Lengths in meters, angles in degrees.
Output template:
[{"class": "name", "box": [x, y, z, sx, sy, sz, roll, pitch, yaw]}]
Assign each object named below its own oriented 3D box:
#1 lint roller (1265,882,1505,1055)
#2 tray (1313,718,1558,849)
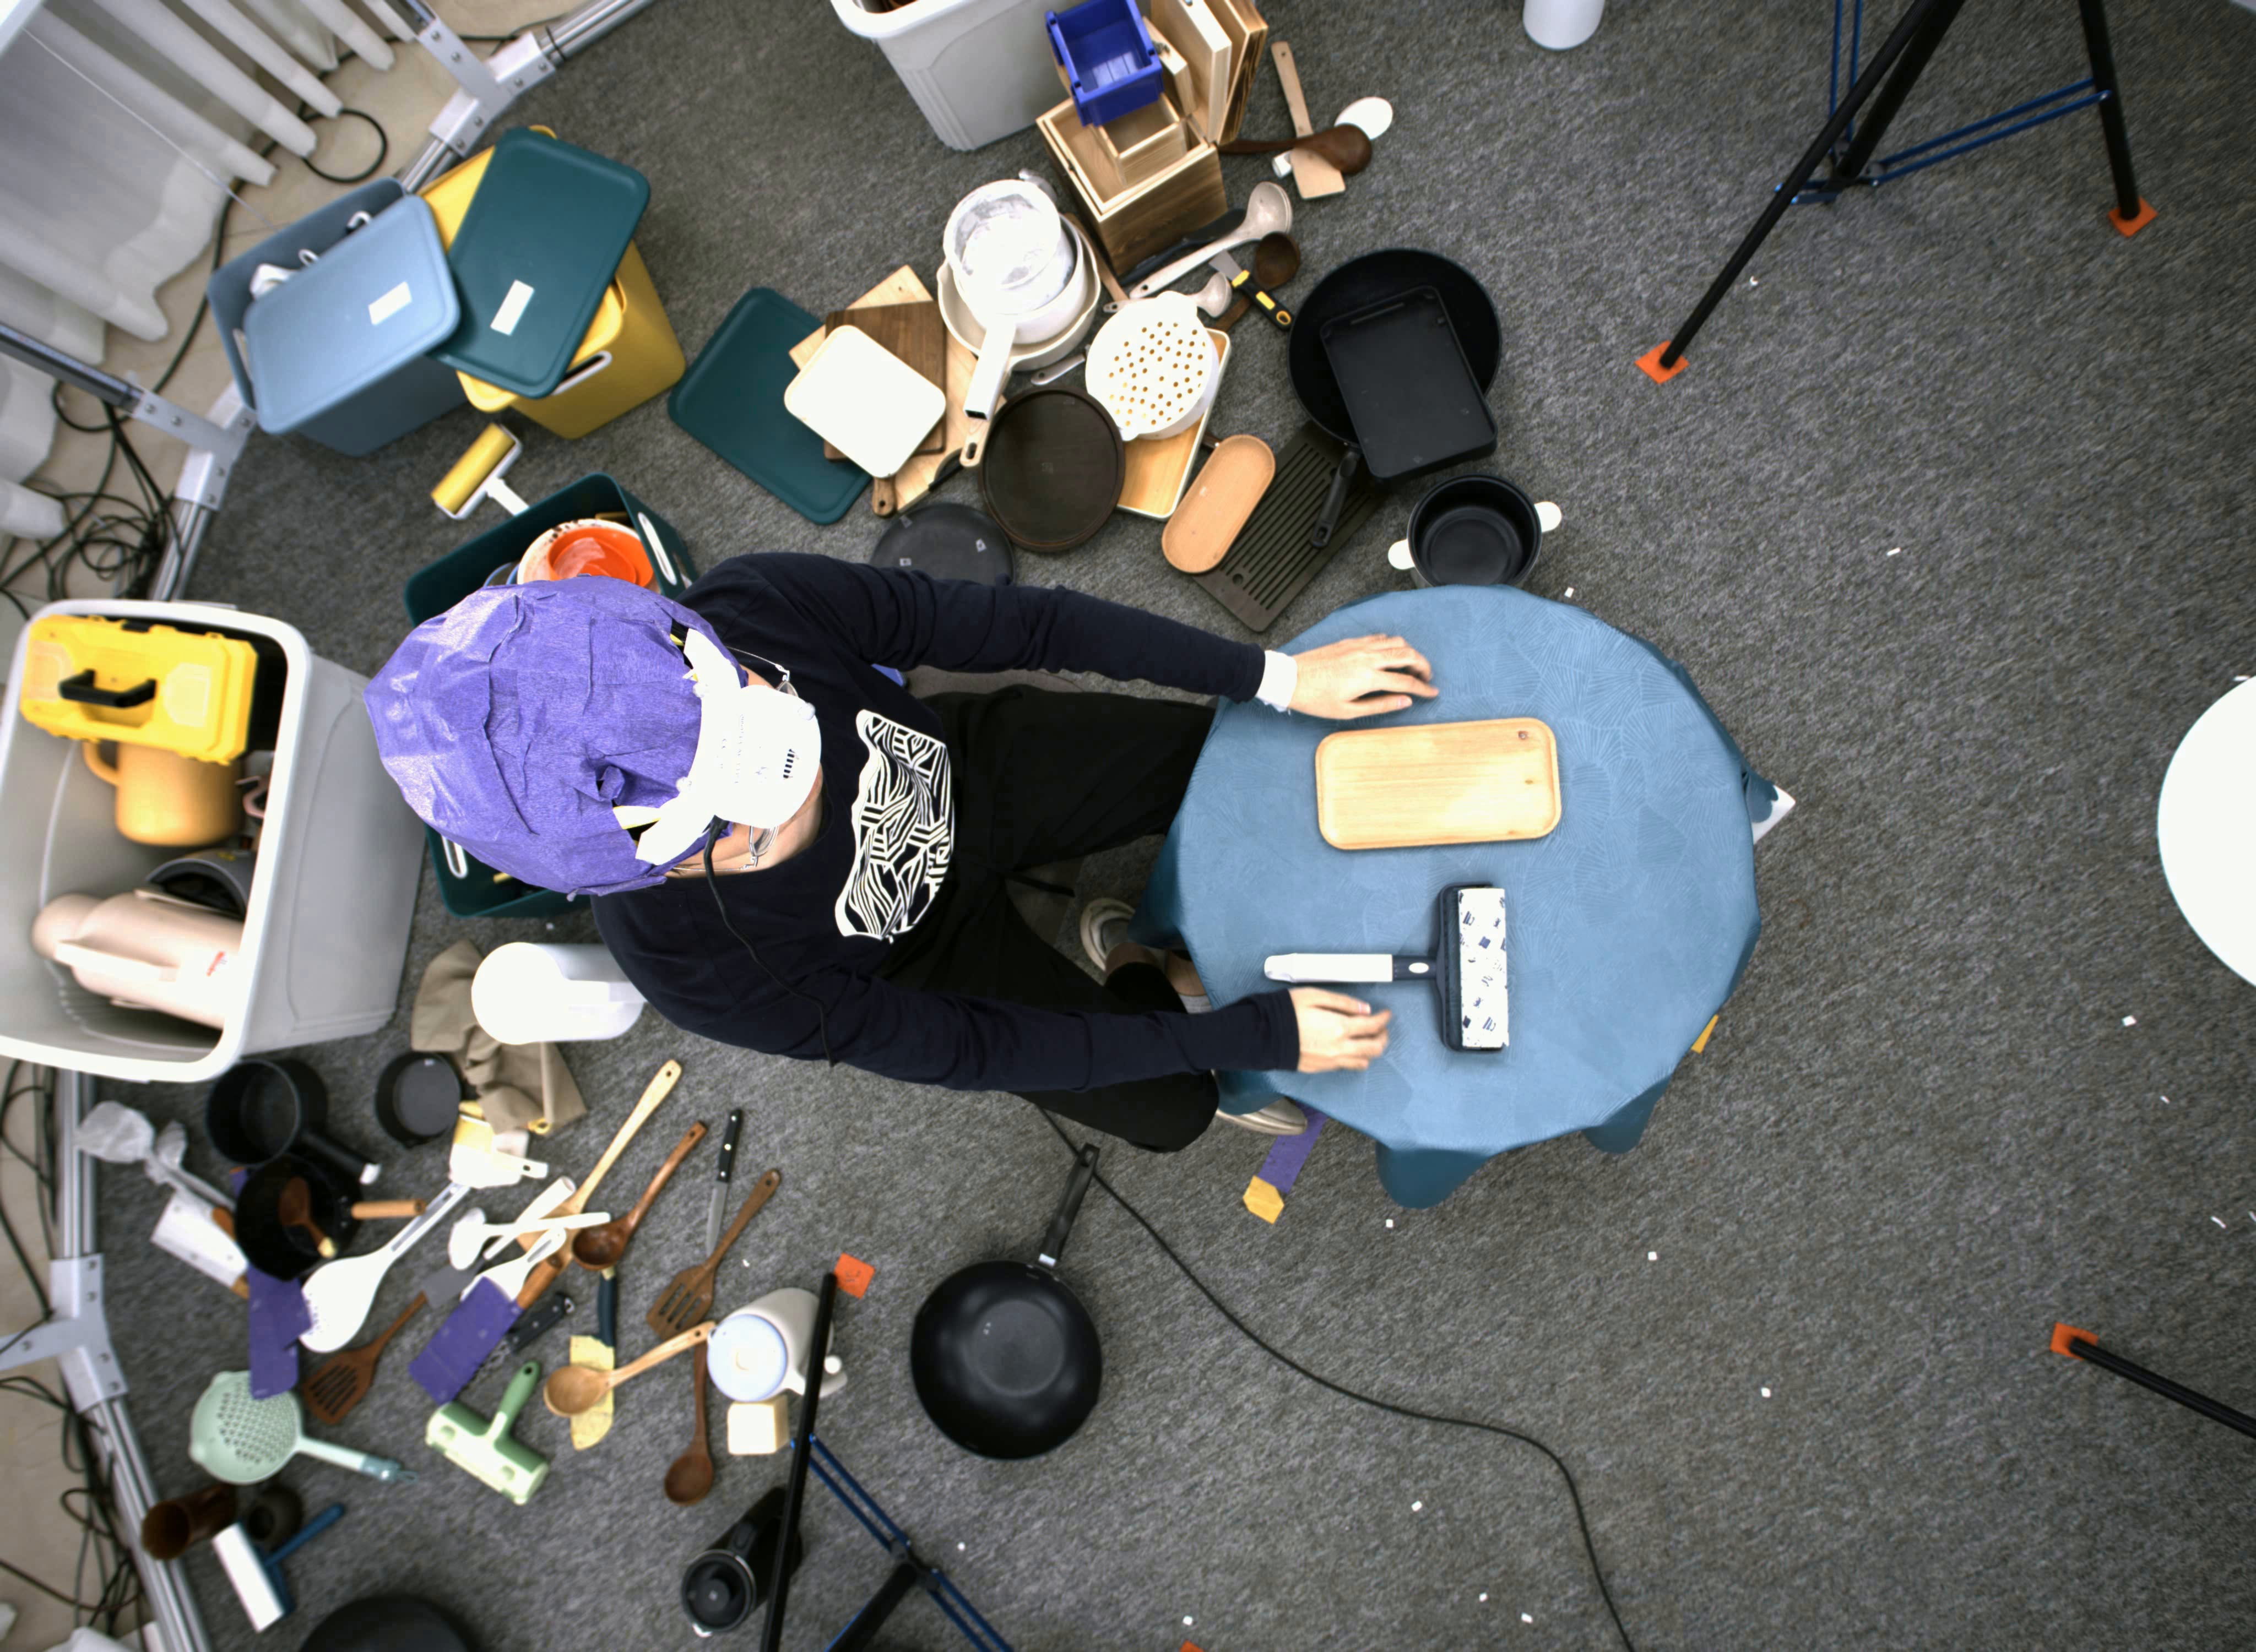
[{"class": "lint roller", "box": [0.265, 0.148, 1.437, 0.248, 0.050, 0.175, -2, 87, 13]}, {"class": "tray", "box": [0.322, -0.046, 1.449, 0.252, 0.023, 0.129, -3, 83, 12]}]
